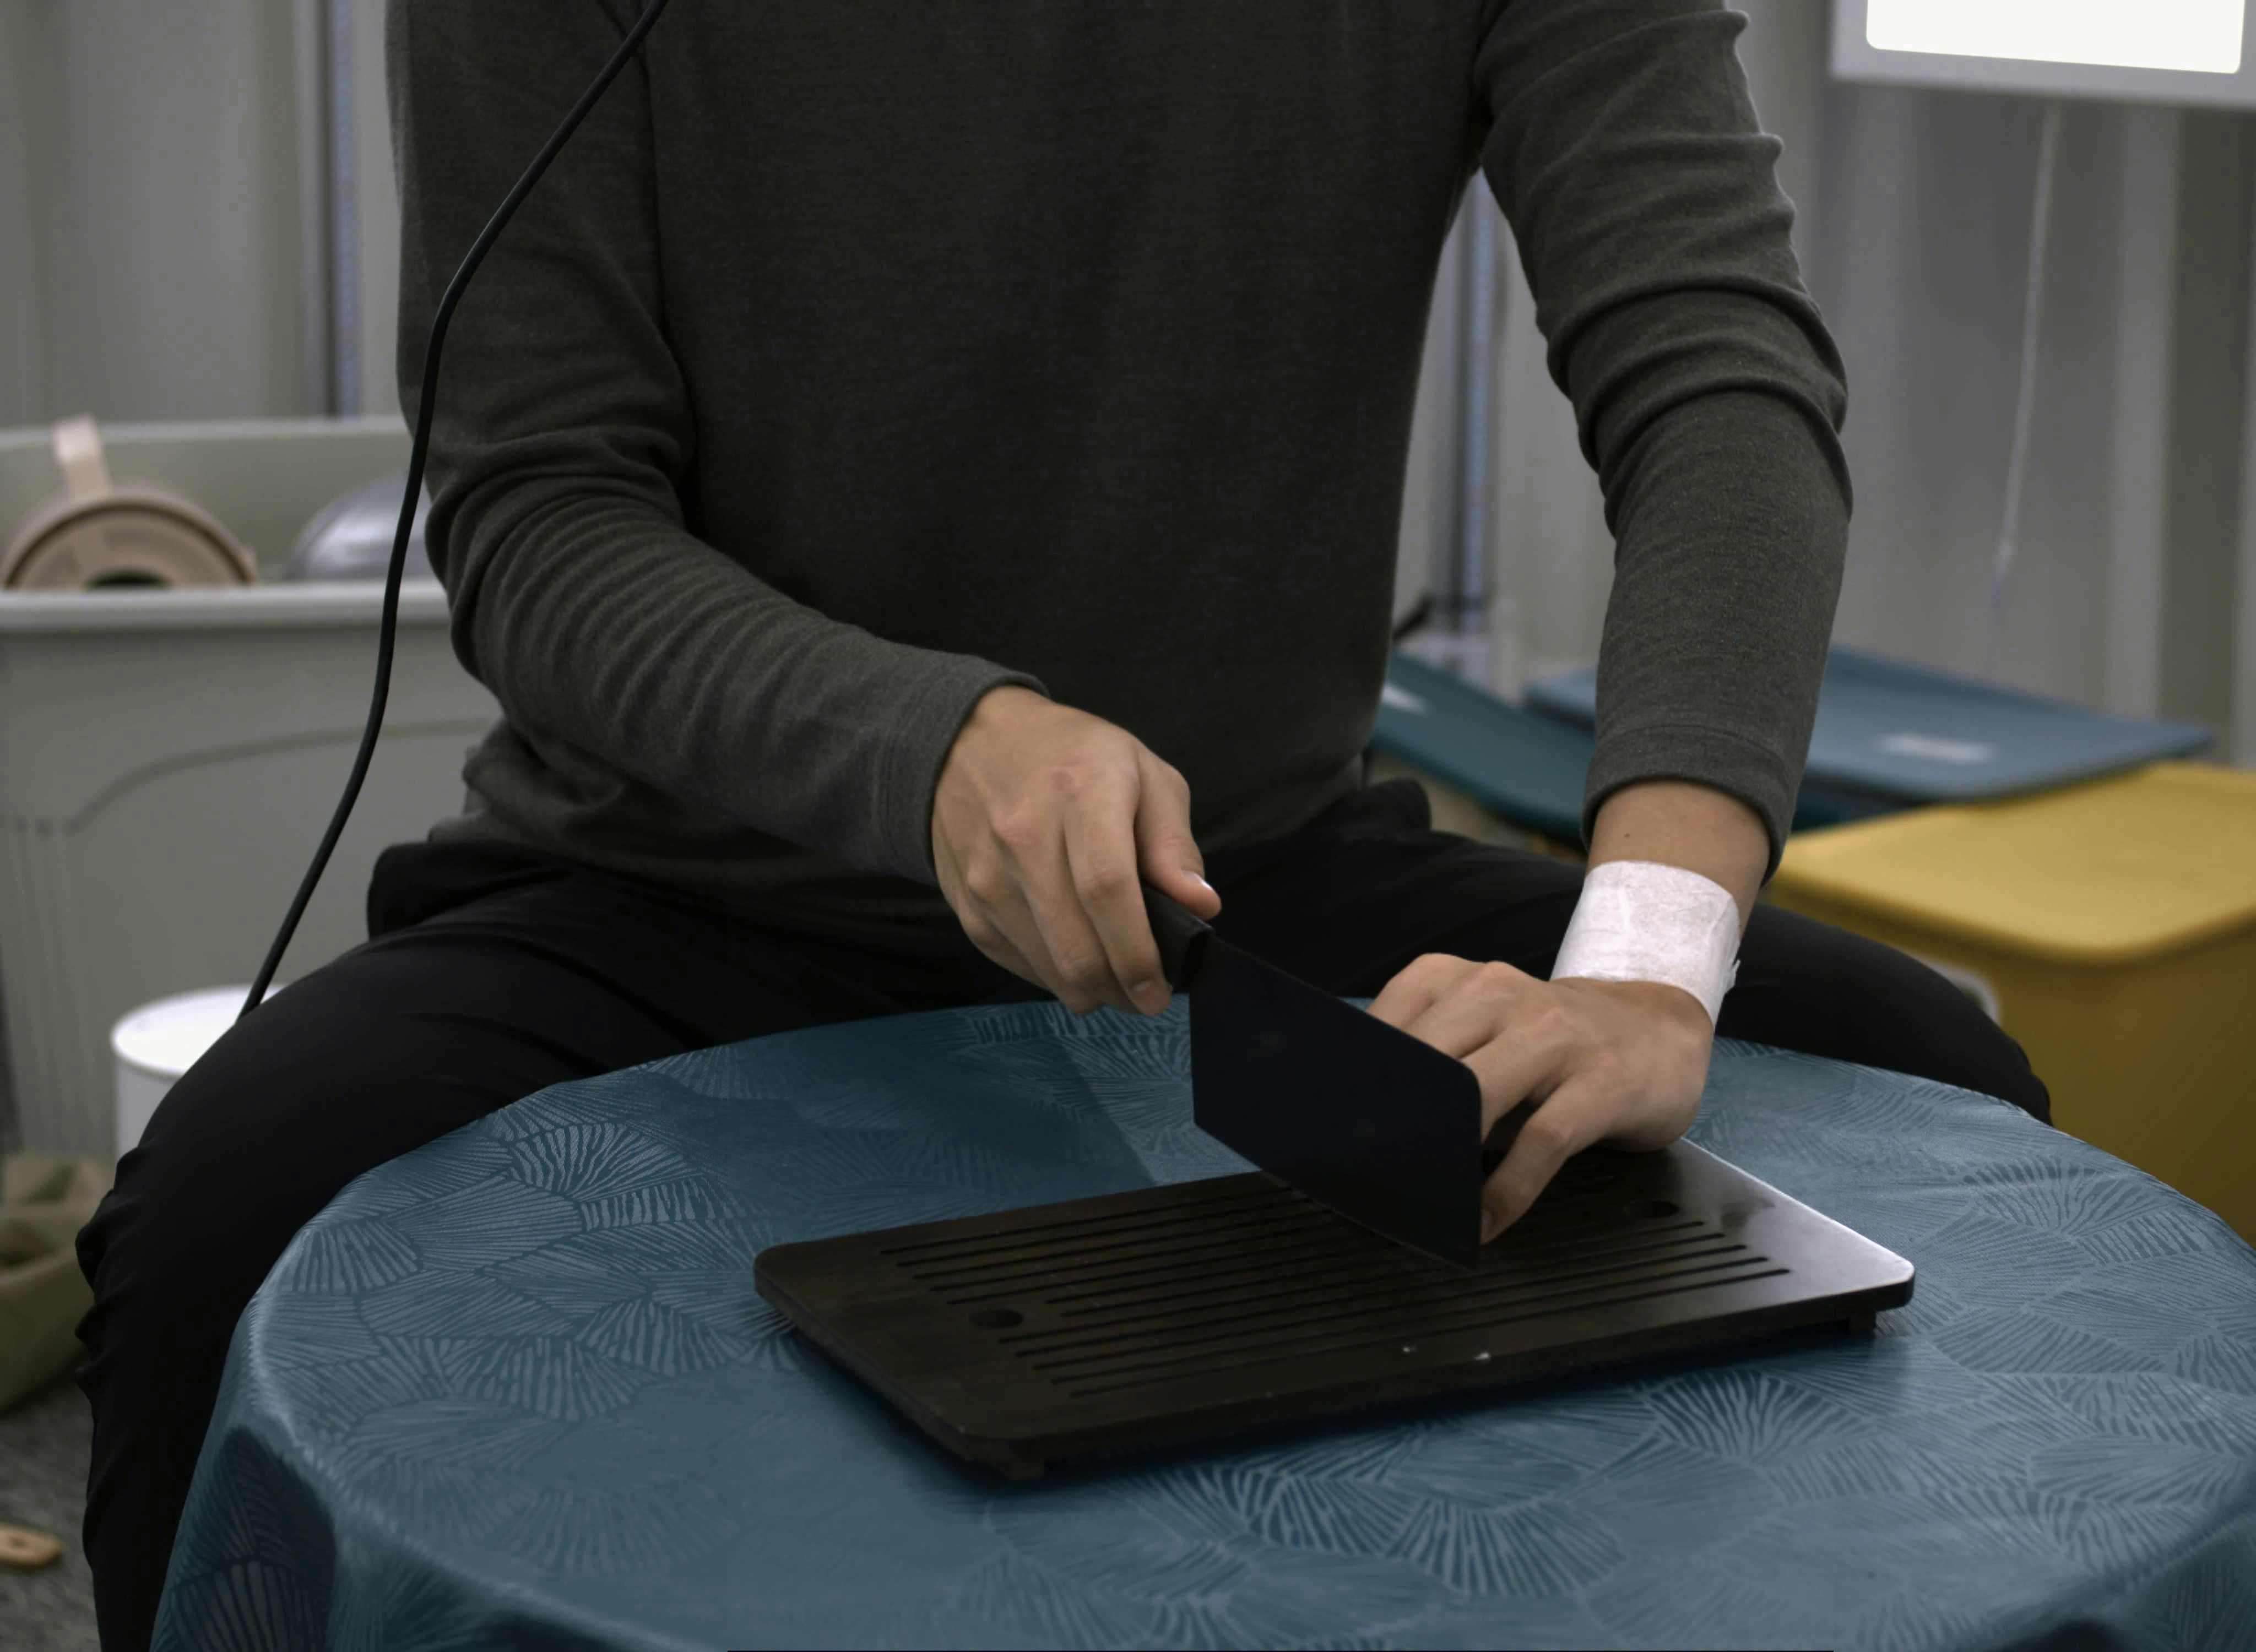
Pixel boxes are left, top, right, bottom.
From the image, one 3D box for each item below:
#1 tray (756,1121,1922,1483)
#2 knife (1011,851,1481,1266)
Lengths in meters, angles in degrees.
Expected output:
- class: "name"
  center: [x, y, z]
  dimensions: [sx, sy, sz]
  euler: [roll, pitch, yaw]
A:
- class: "tray"
  center: [0.061, 0.134, 1.514]
  dimensions: [0.307, 0.019, 0.168]
  euler: [-6, 16, -26]
- class: "knife"
  center: [0.033, 0.063, 1.597]
  dimensions: [0.021, 0.081, 0.298]
  euler: [-7, 19, -25]
